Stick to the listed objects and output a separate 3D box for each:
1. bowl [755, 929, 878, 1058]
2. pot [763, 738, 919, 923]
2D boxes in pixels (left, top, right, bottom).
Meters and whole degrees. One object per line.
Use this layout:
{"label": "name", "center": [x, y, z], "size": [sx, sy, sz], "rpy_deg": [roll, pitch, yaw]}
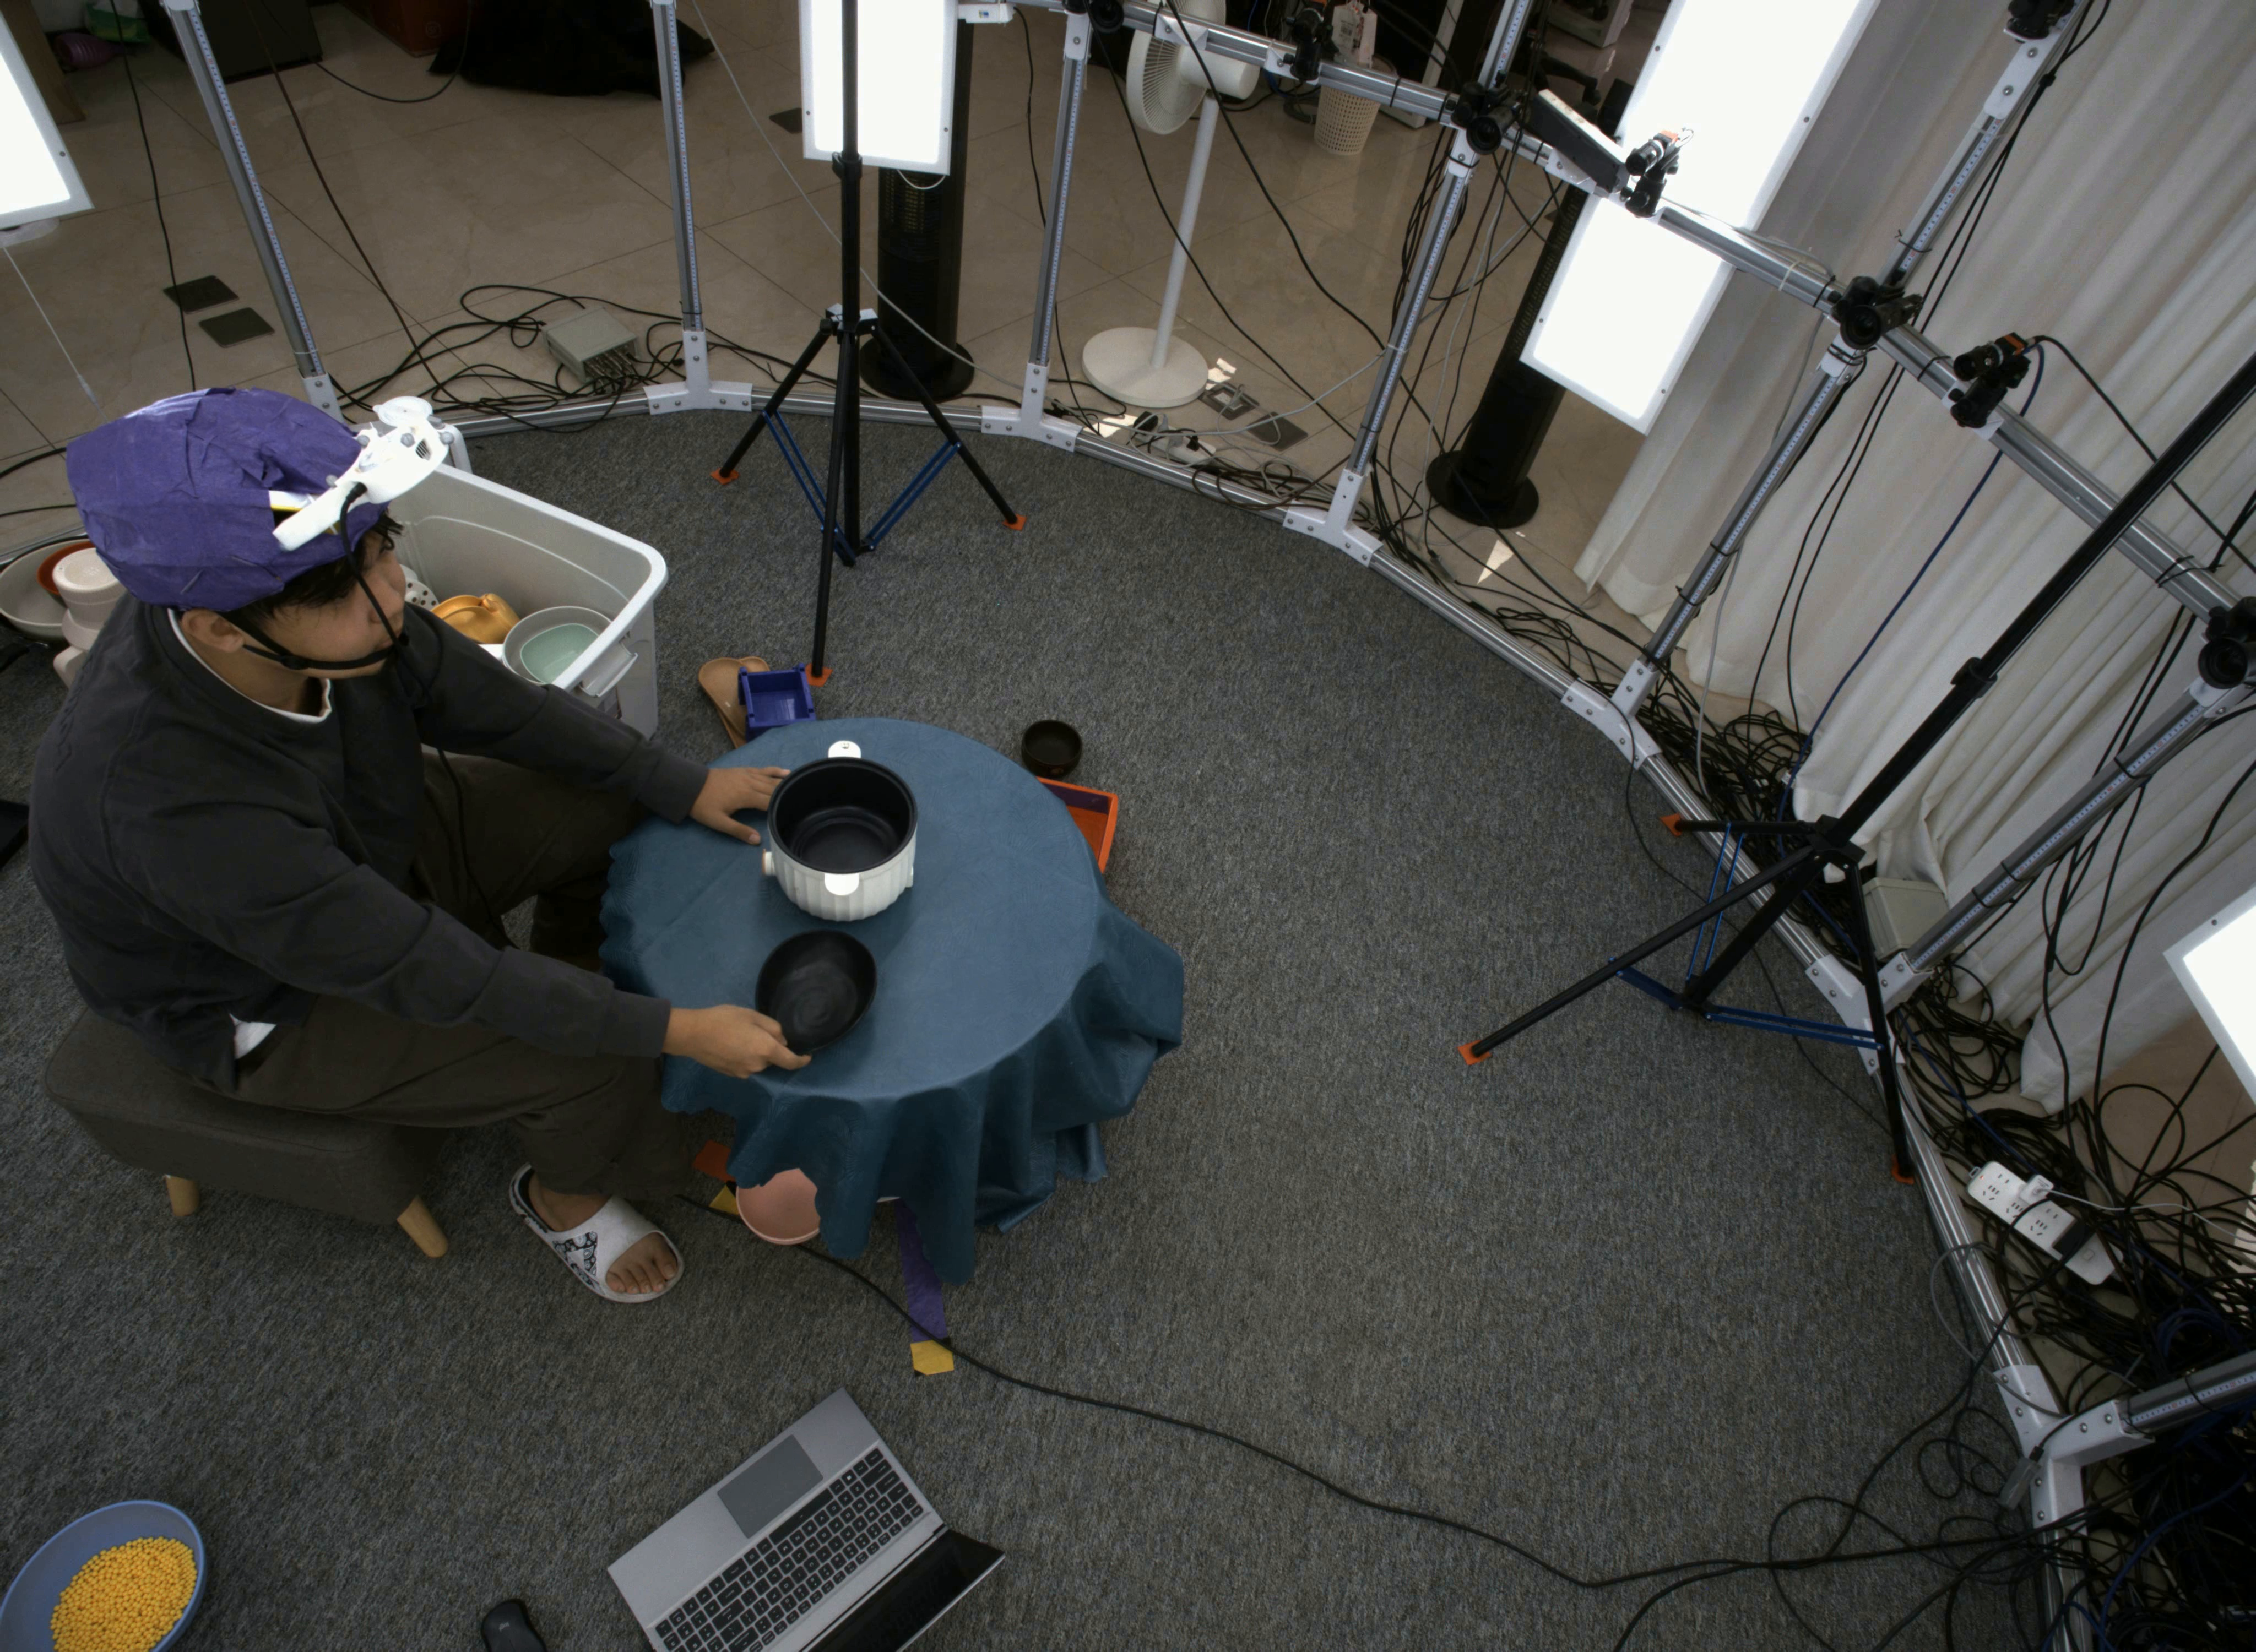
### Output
{"label": "bowl", "center": [-0.368, 0.205, 1.539], "size": [0.136, 0.068, 0.168], "rpy_deg": [16, 53, 0]}
{"label": "pot", "center": [-0.361, 0.024, 1.629], "size": [0.191, 0.145, 0.235], "rpy_deg": [2, 52, -15]}
